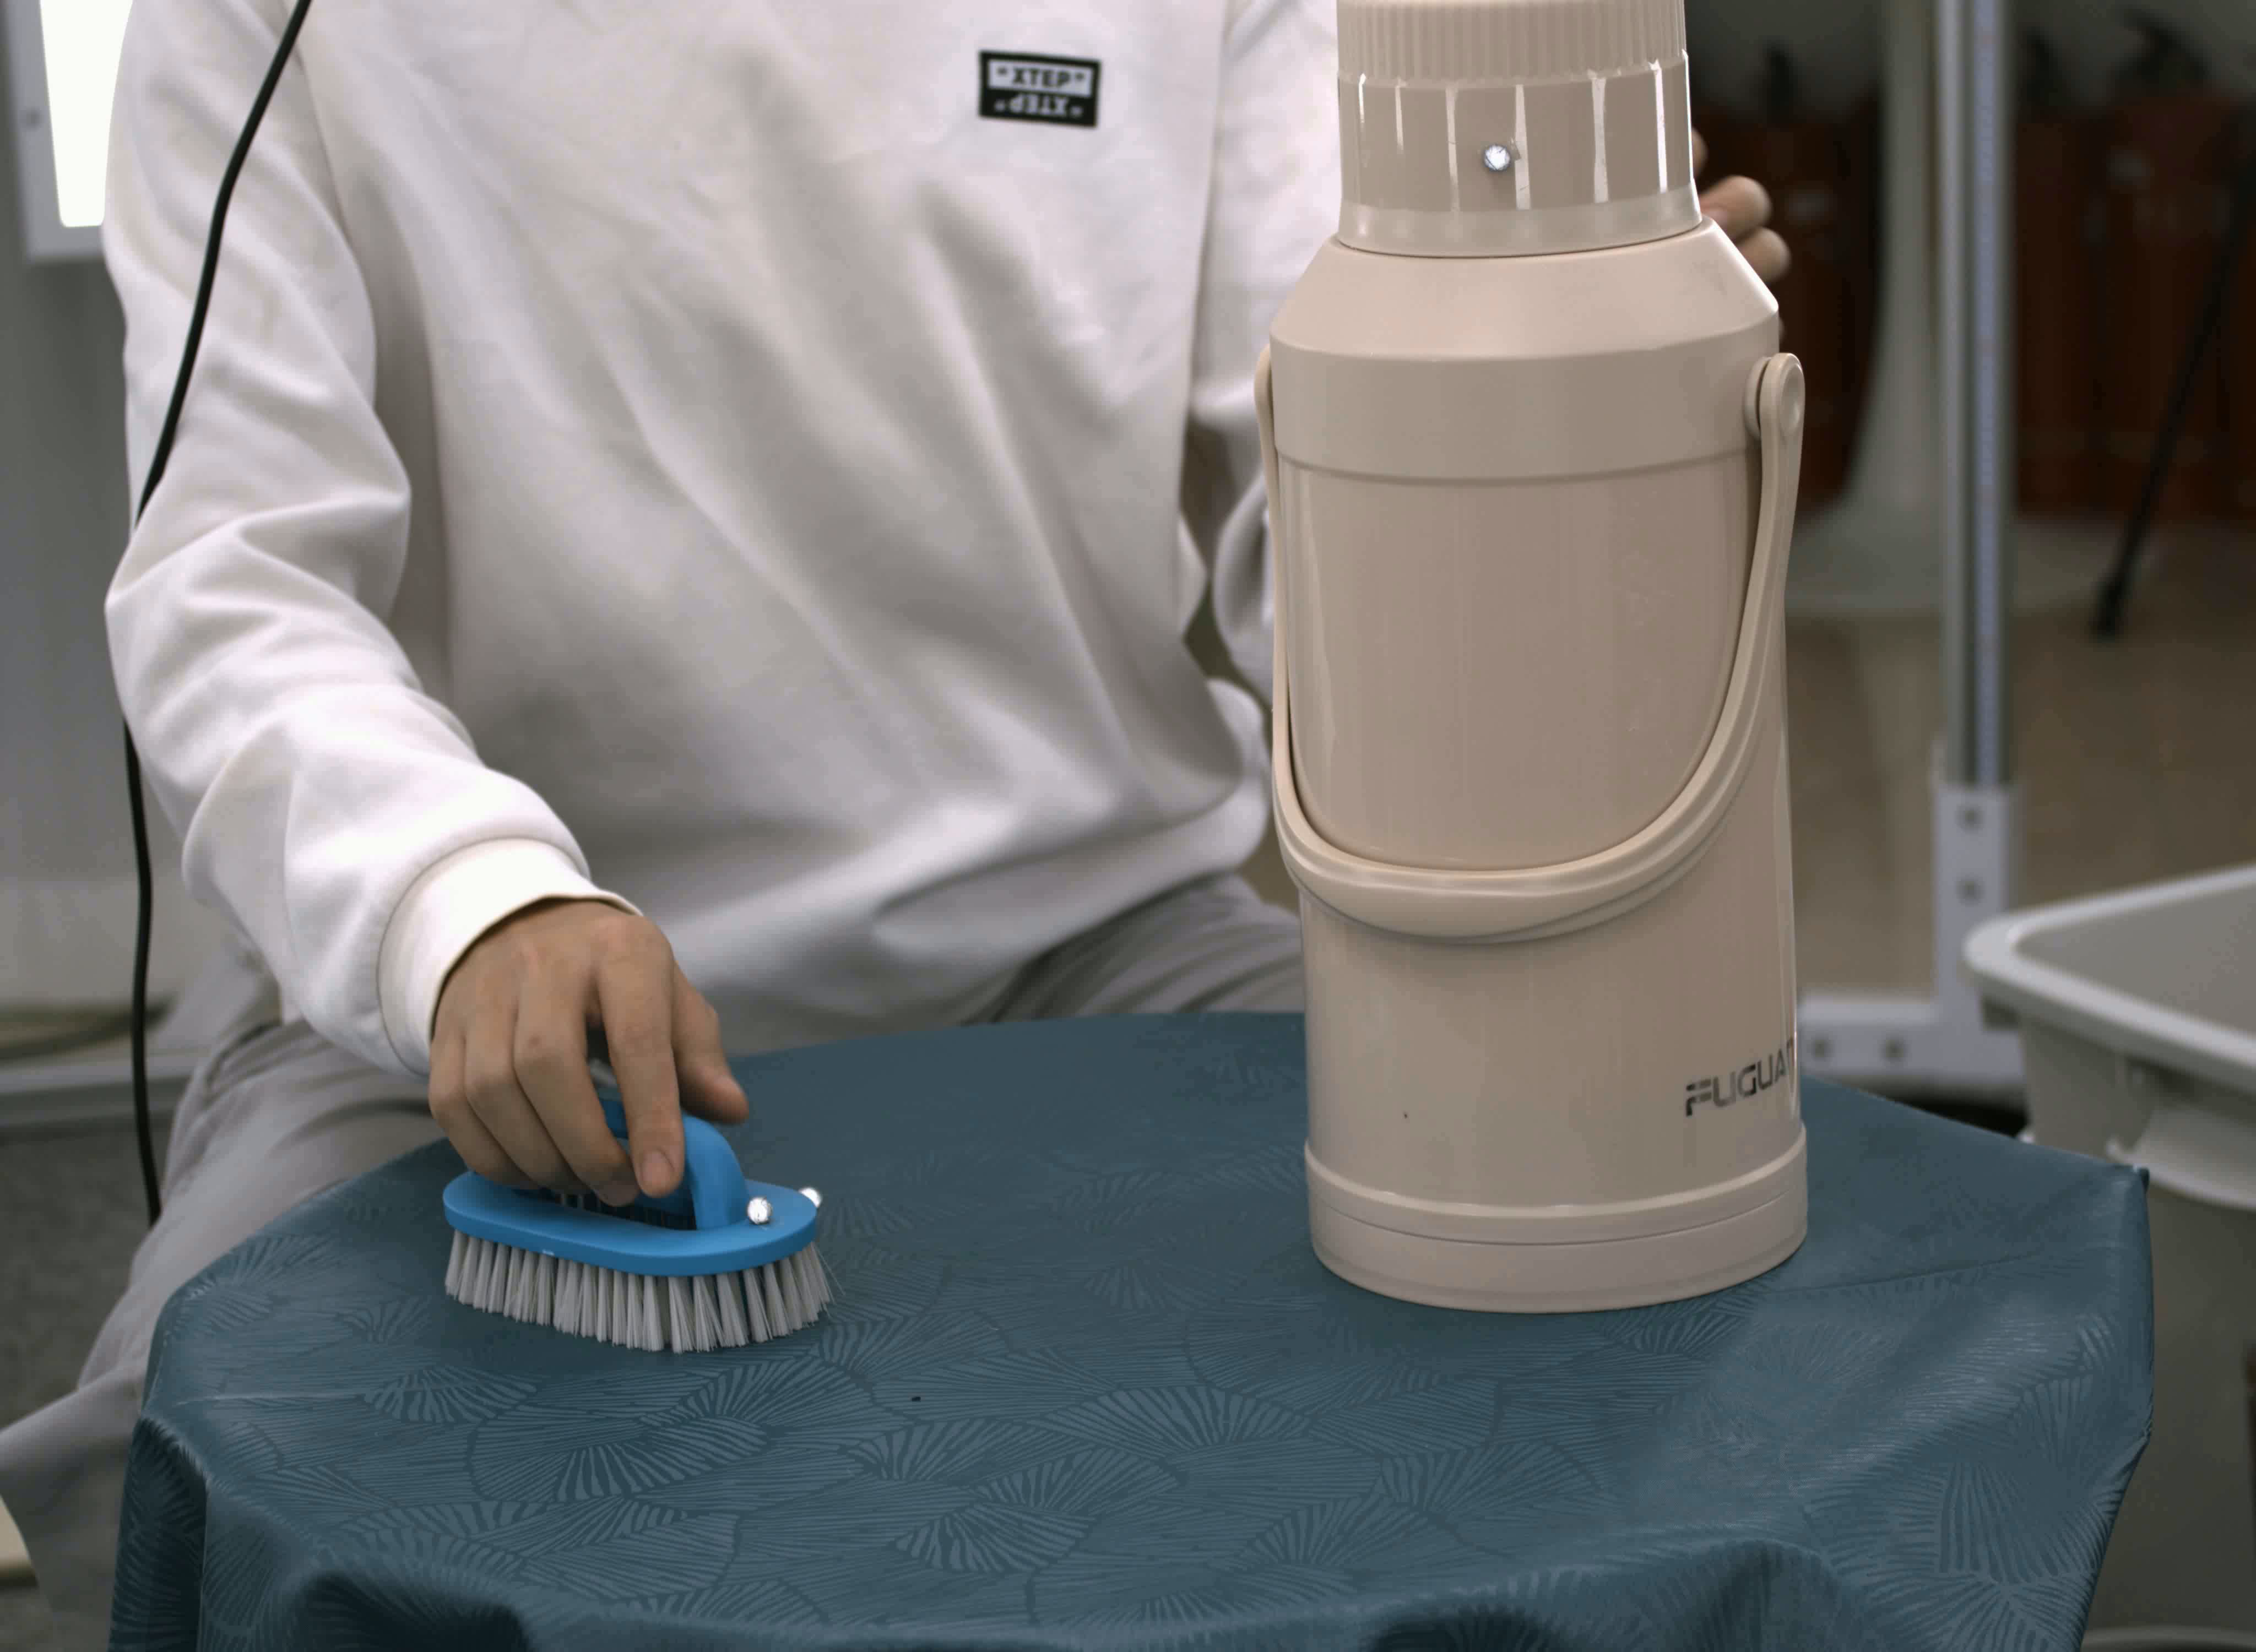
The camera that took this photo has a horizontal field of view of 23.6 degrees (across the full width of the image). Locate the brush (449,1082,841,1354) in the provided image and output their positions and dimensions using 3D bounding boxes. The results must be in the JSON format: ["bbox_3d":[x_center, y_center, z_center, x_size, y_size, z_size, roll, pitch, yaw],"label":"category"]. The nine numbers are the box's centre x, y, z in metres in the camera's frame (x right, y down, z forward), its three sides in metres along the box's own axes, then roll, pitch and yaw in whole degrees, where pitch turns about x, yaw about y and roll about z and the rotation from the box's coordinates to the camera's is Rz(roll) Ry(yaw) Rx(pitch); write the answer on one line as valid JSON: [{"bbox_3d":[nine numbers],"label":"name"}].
[{"bbox_3d":[-0.155,0.116,1.696,0.143,0.064,0.083,9,22,42],"label":"brush"}]

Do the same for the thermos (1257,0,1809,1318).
[{"bbox_3d":[0.133,-0.067,1.669,0.176,0.411,0.204,2,13,28],"label":"thermos"}]
